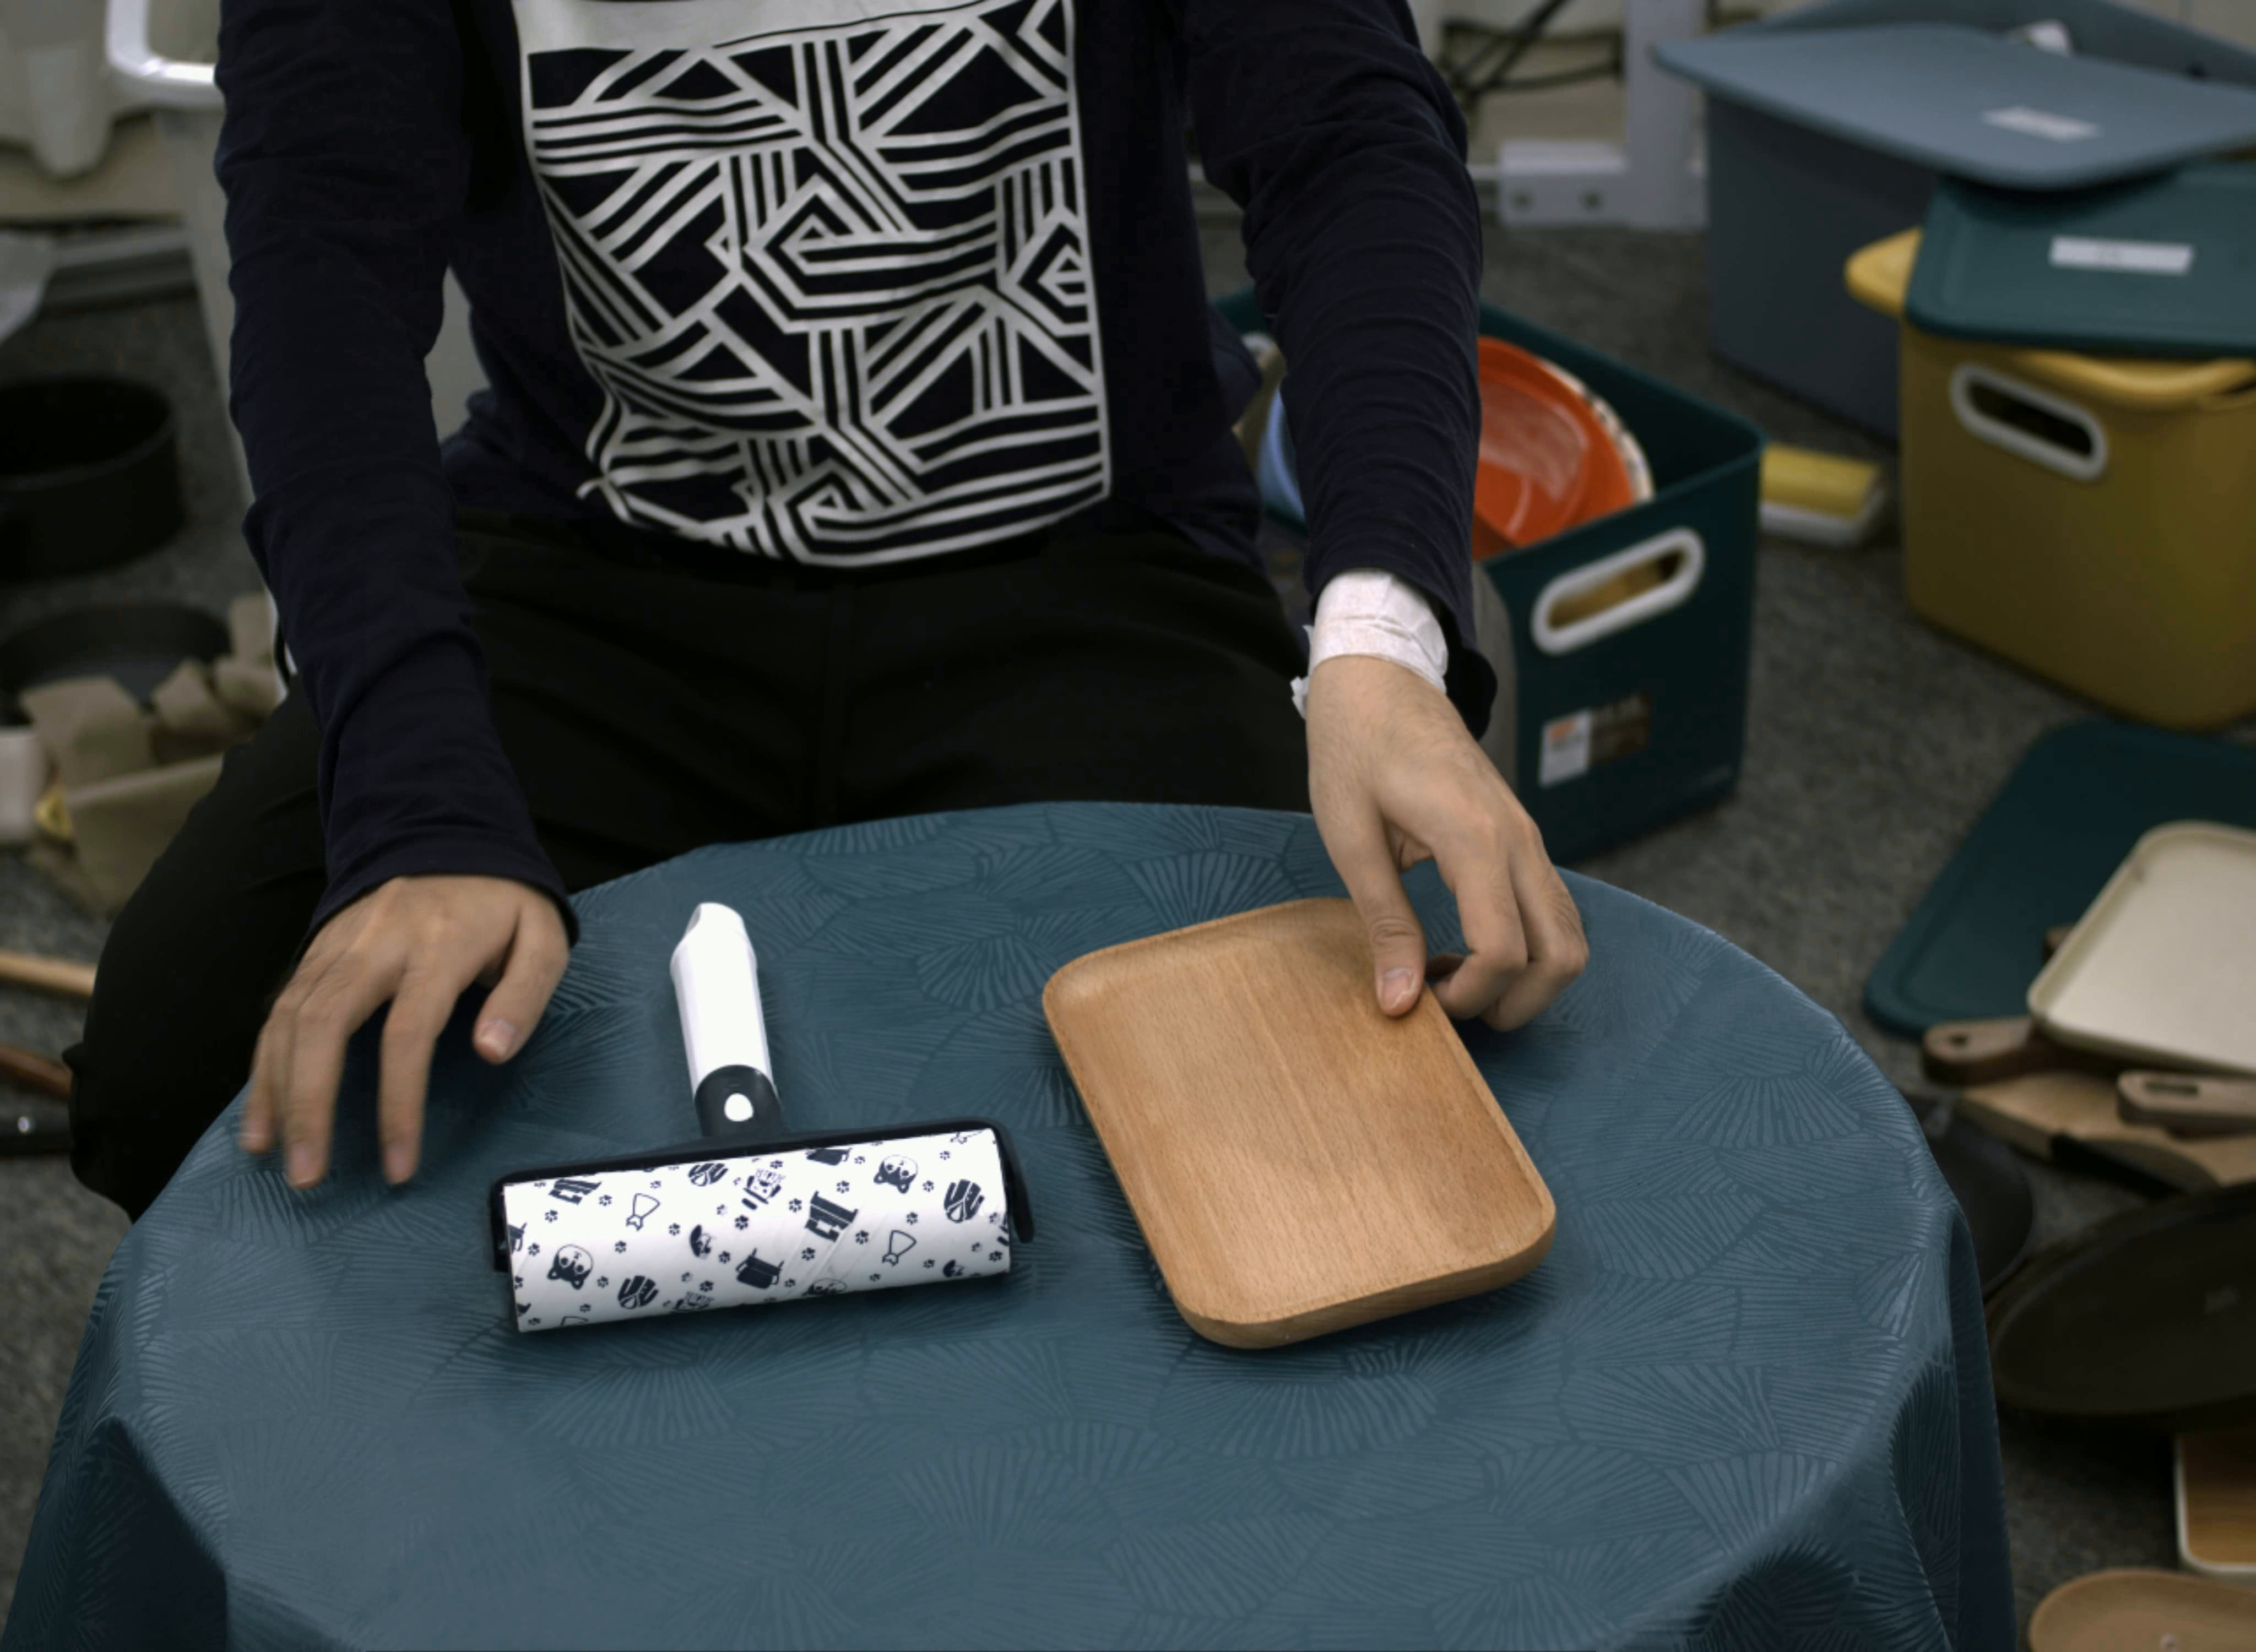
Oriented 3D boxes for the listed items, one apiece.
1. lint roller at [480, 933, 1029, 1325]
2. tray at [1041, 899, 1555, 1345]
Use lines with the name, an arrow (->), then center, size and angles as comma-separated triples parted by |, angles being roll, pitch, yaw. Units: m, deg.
lint roller -> -0.136, 0.088, 1.897 | 0.176, 0.050, 0.250 | -7, 25, -7
tray -> 0.053, 0.096, 1.878 | 0.130, 0.022, 0.253 | -10, 27, -8
